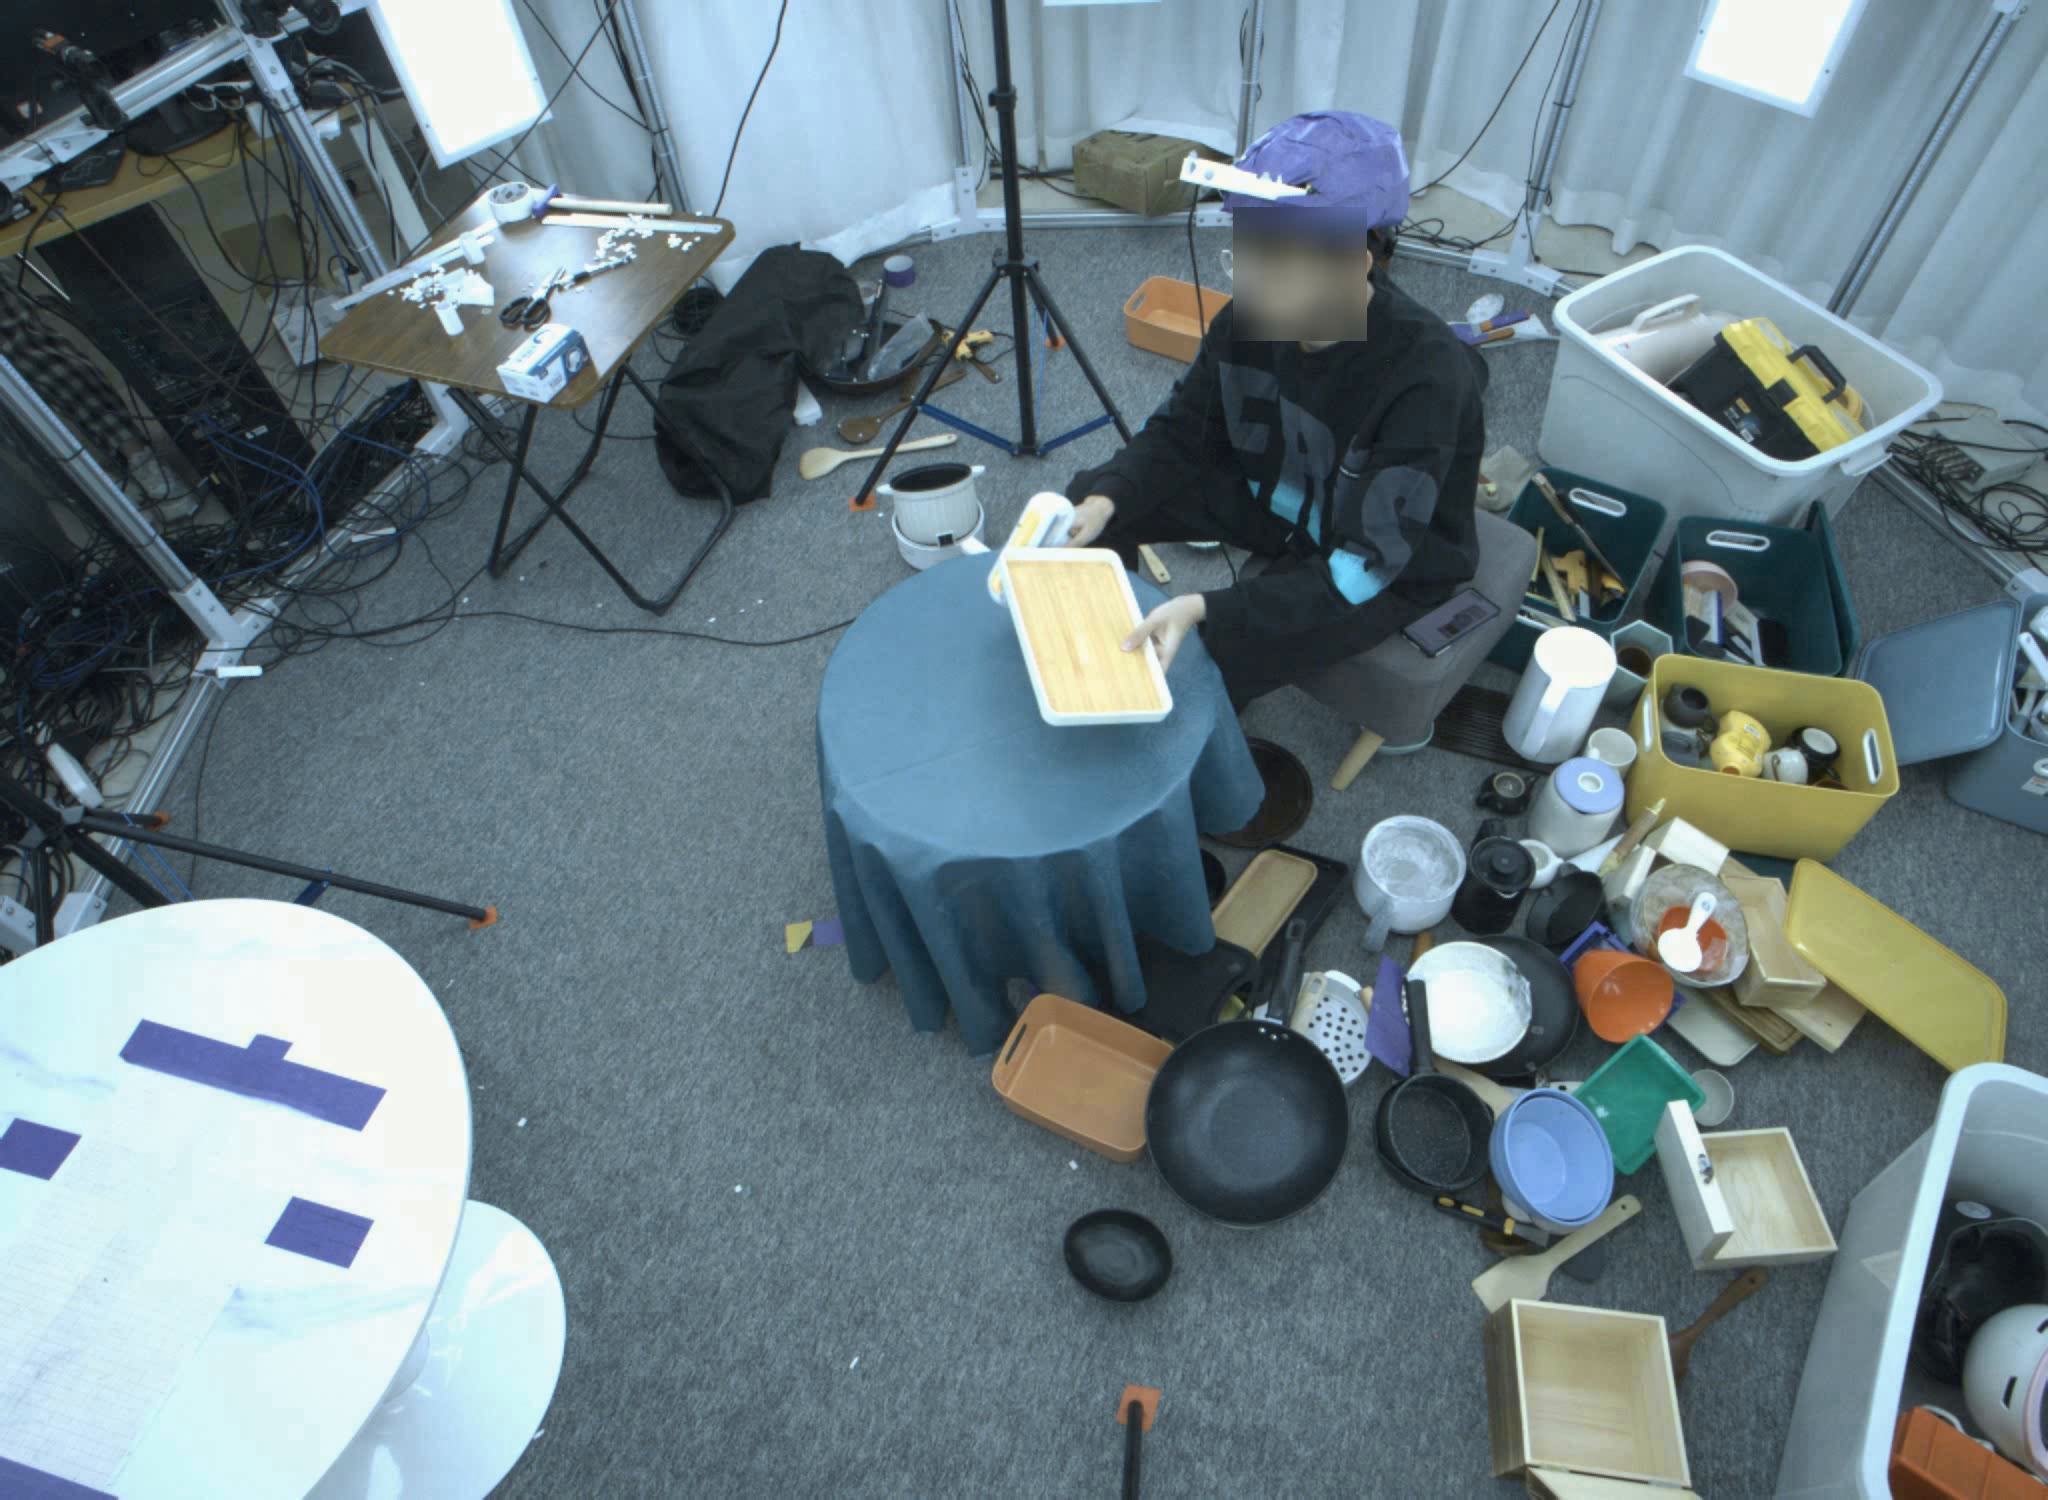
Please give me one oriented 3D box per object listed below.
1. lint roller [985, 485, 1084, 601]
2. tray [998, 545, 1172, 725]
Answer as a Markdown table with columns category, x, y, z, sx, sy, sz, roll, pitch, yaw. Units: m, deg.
| category | x | y | z | sx | sy | sz | roll | pitch | yaw |
| --- | --- | --- | --- | --- | --- | --- | --- | --- | --- |
| lint roller | 0.038 | -0.315 | 1.868 | 0.073 | 0.192 | 0.196 | 44 | 29 | 27 |
| tray | 0.083 | -0.167 | 1.738 | 0.195 | 0.027 | 0.296 | -2 | 59 | -24 |
